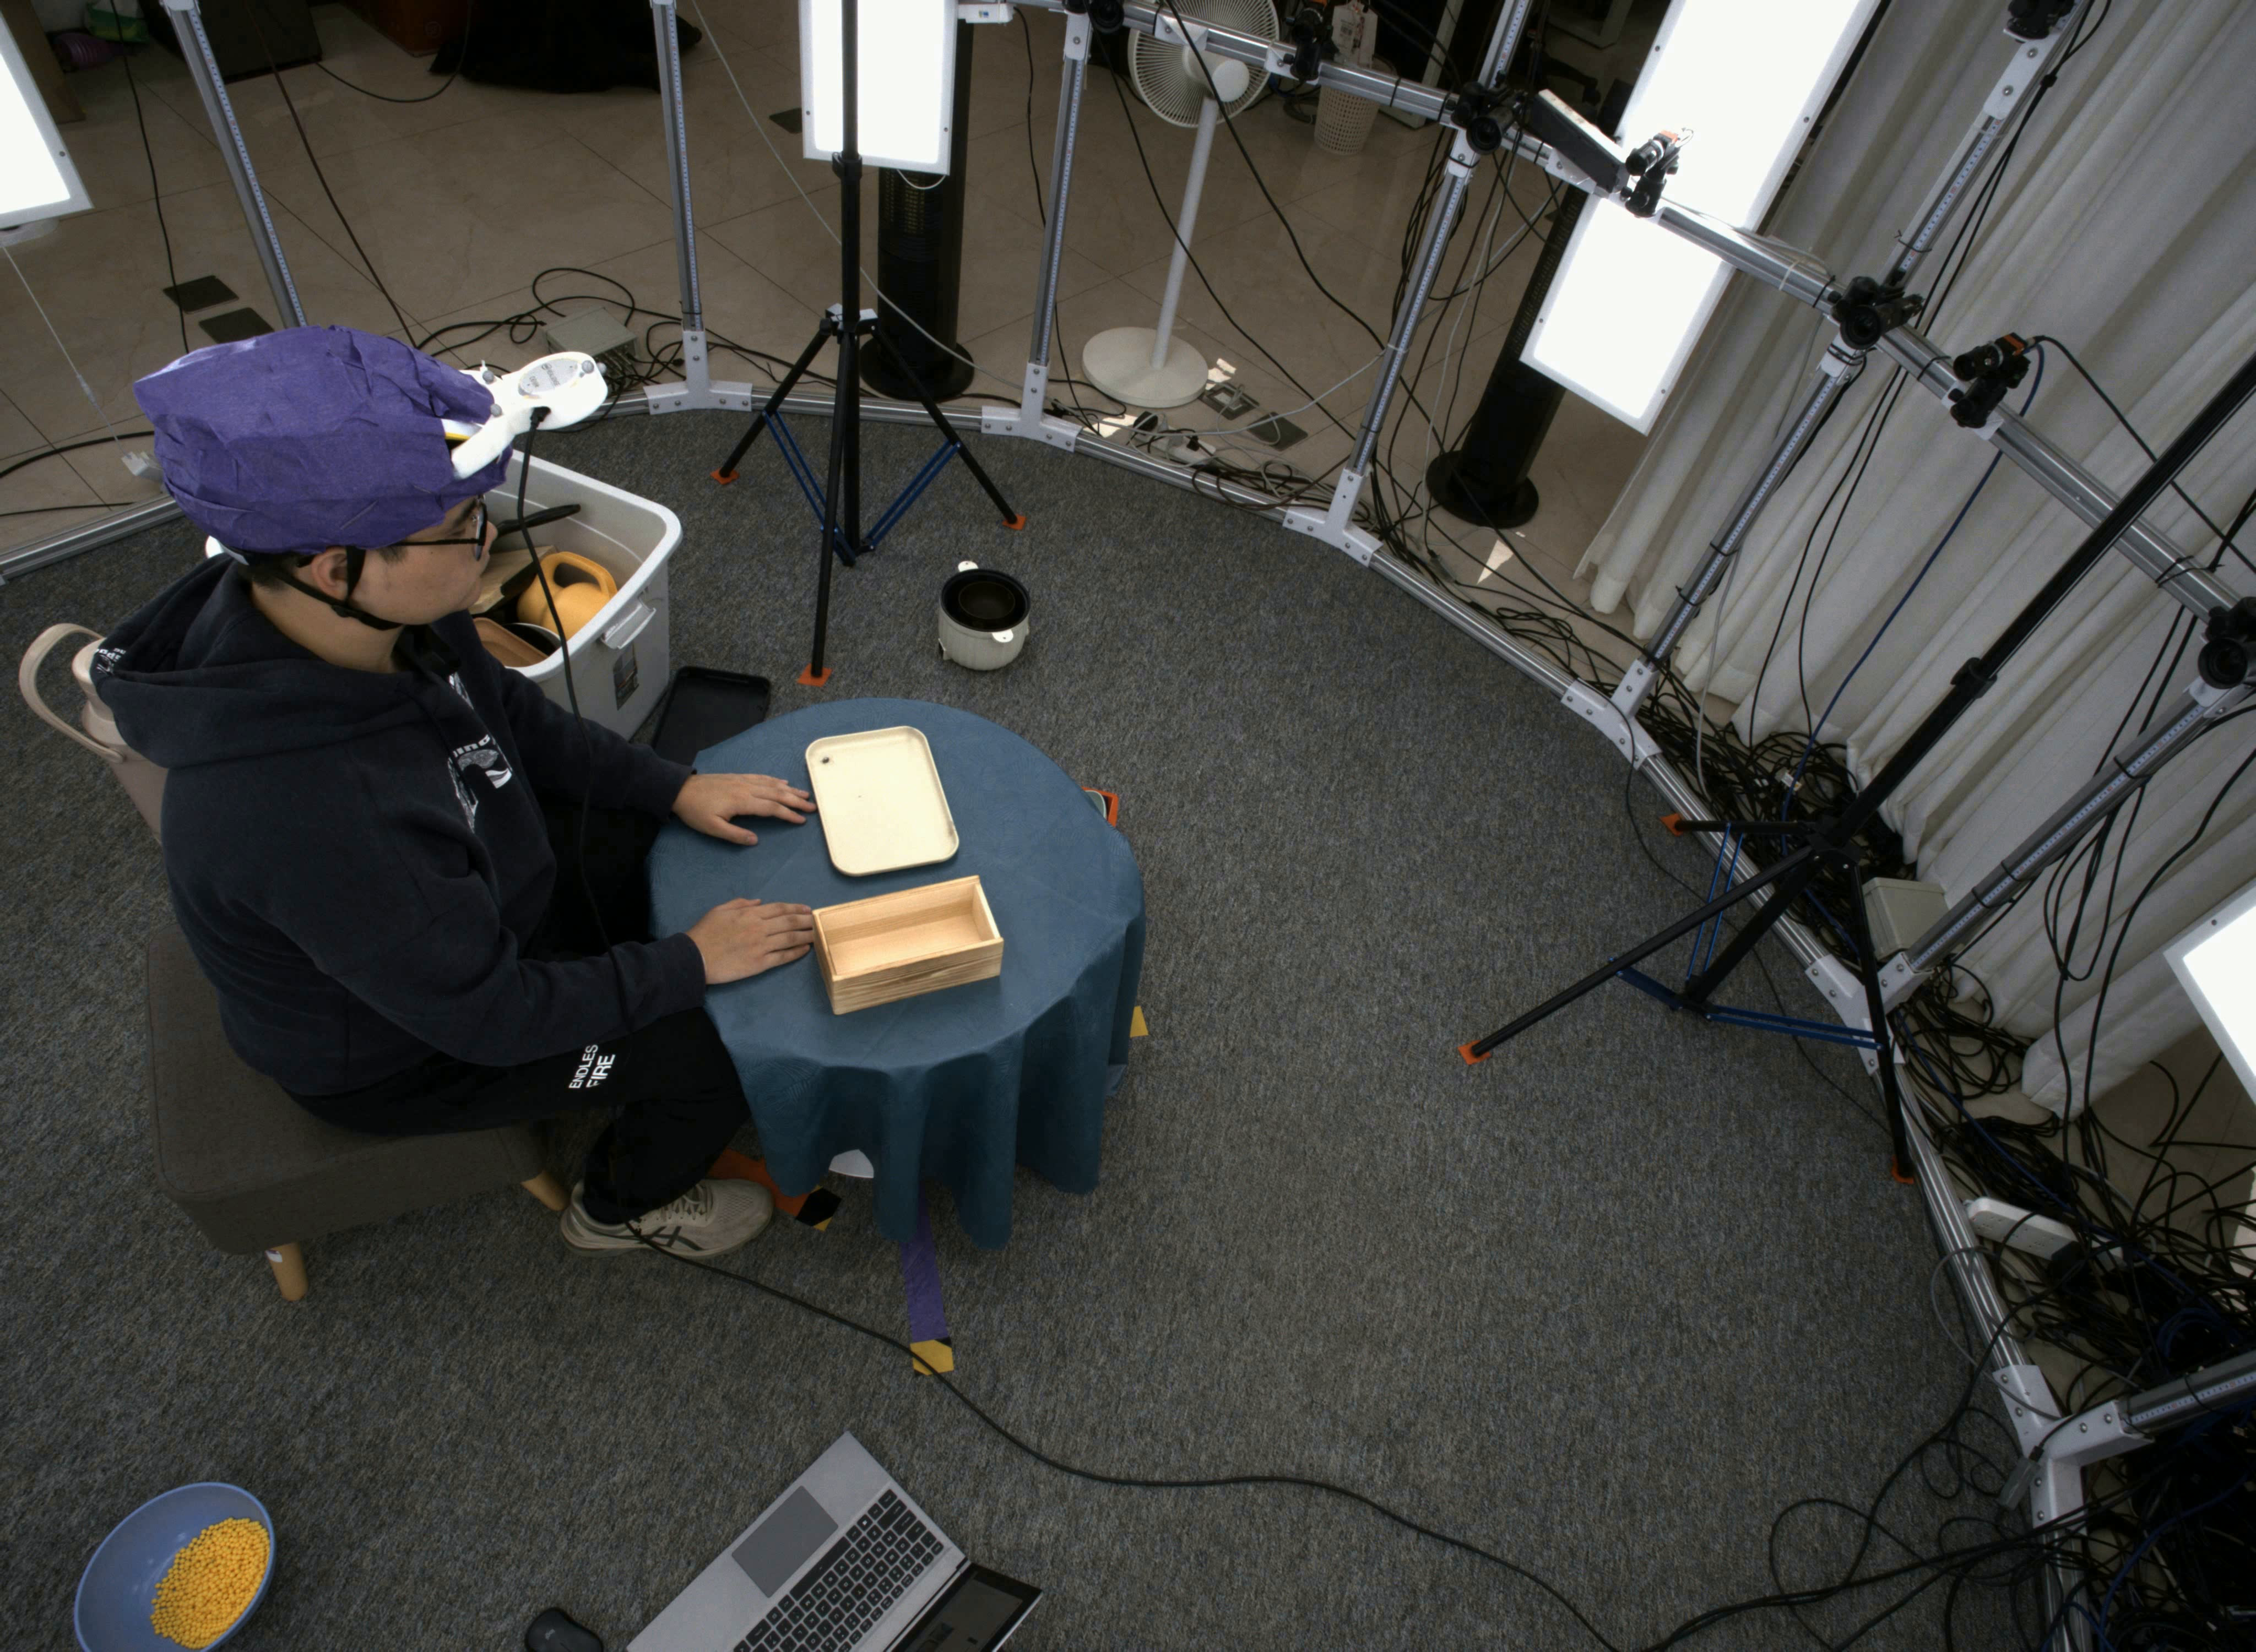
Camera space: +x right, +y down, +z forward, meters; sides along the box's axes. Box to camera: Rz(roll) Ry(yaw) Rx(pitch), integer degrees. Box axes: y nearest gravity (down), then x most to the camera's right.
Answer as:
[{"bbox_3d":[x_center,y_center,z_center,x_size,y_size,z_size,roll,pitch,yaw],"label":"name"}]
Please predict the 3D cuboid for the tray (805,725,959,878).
[{"bbox_3d":[-0.334,-0.036,1.758,0.172,0.018,0.234,-10,57,-20],"label":"tray"}]

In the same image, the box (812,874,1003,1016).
[{"bbox_3d":[-0.270,0.143,1.600,0.212,0.082,0.105,-13,56,-22],"label":"box"}]
